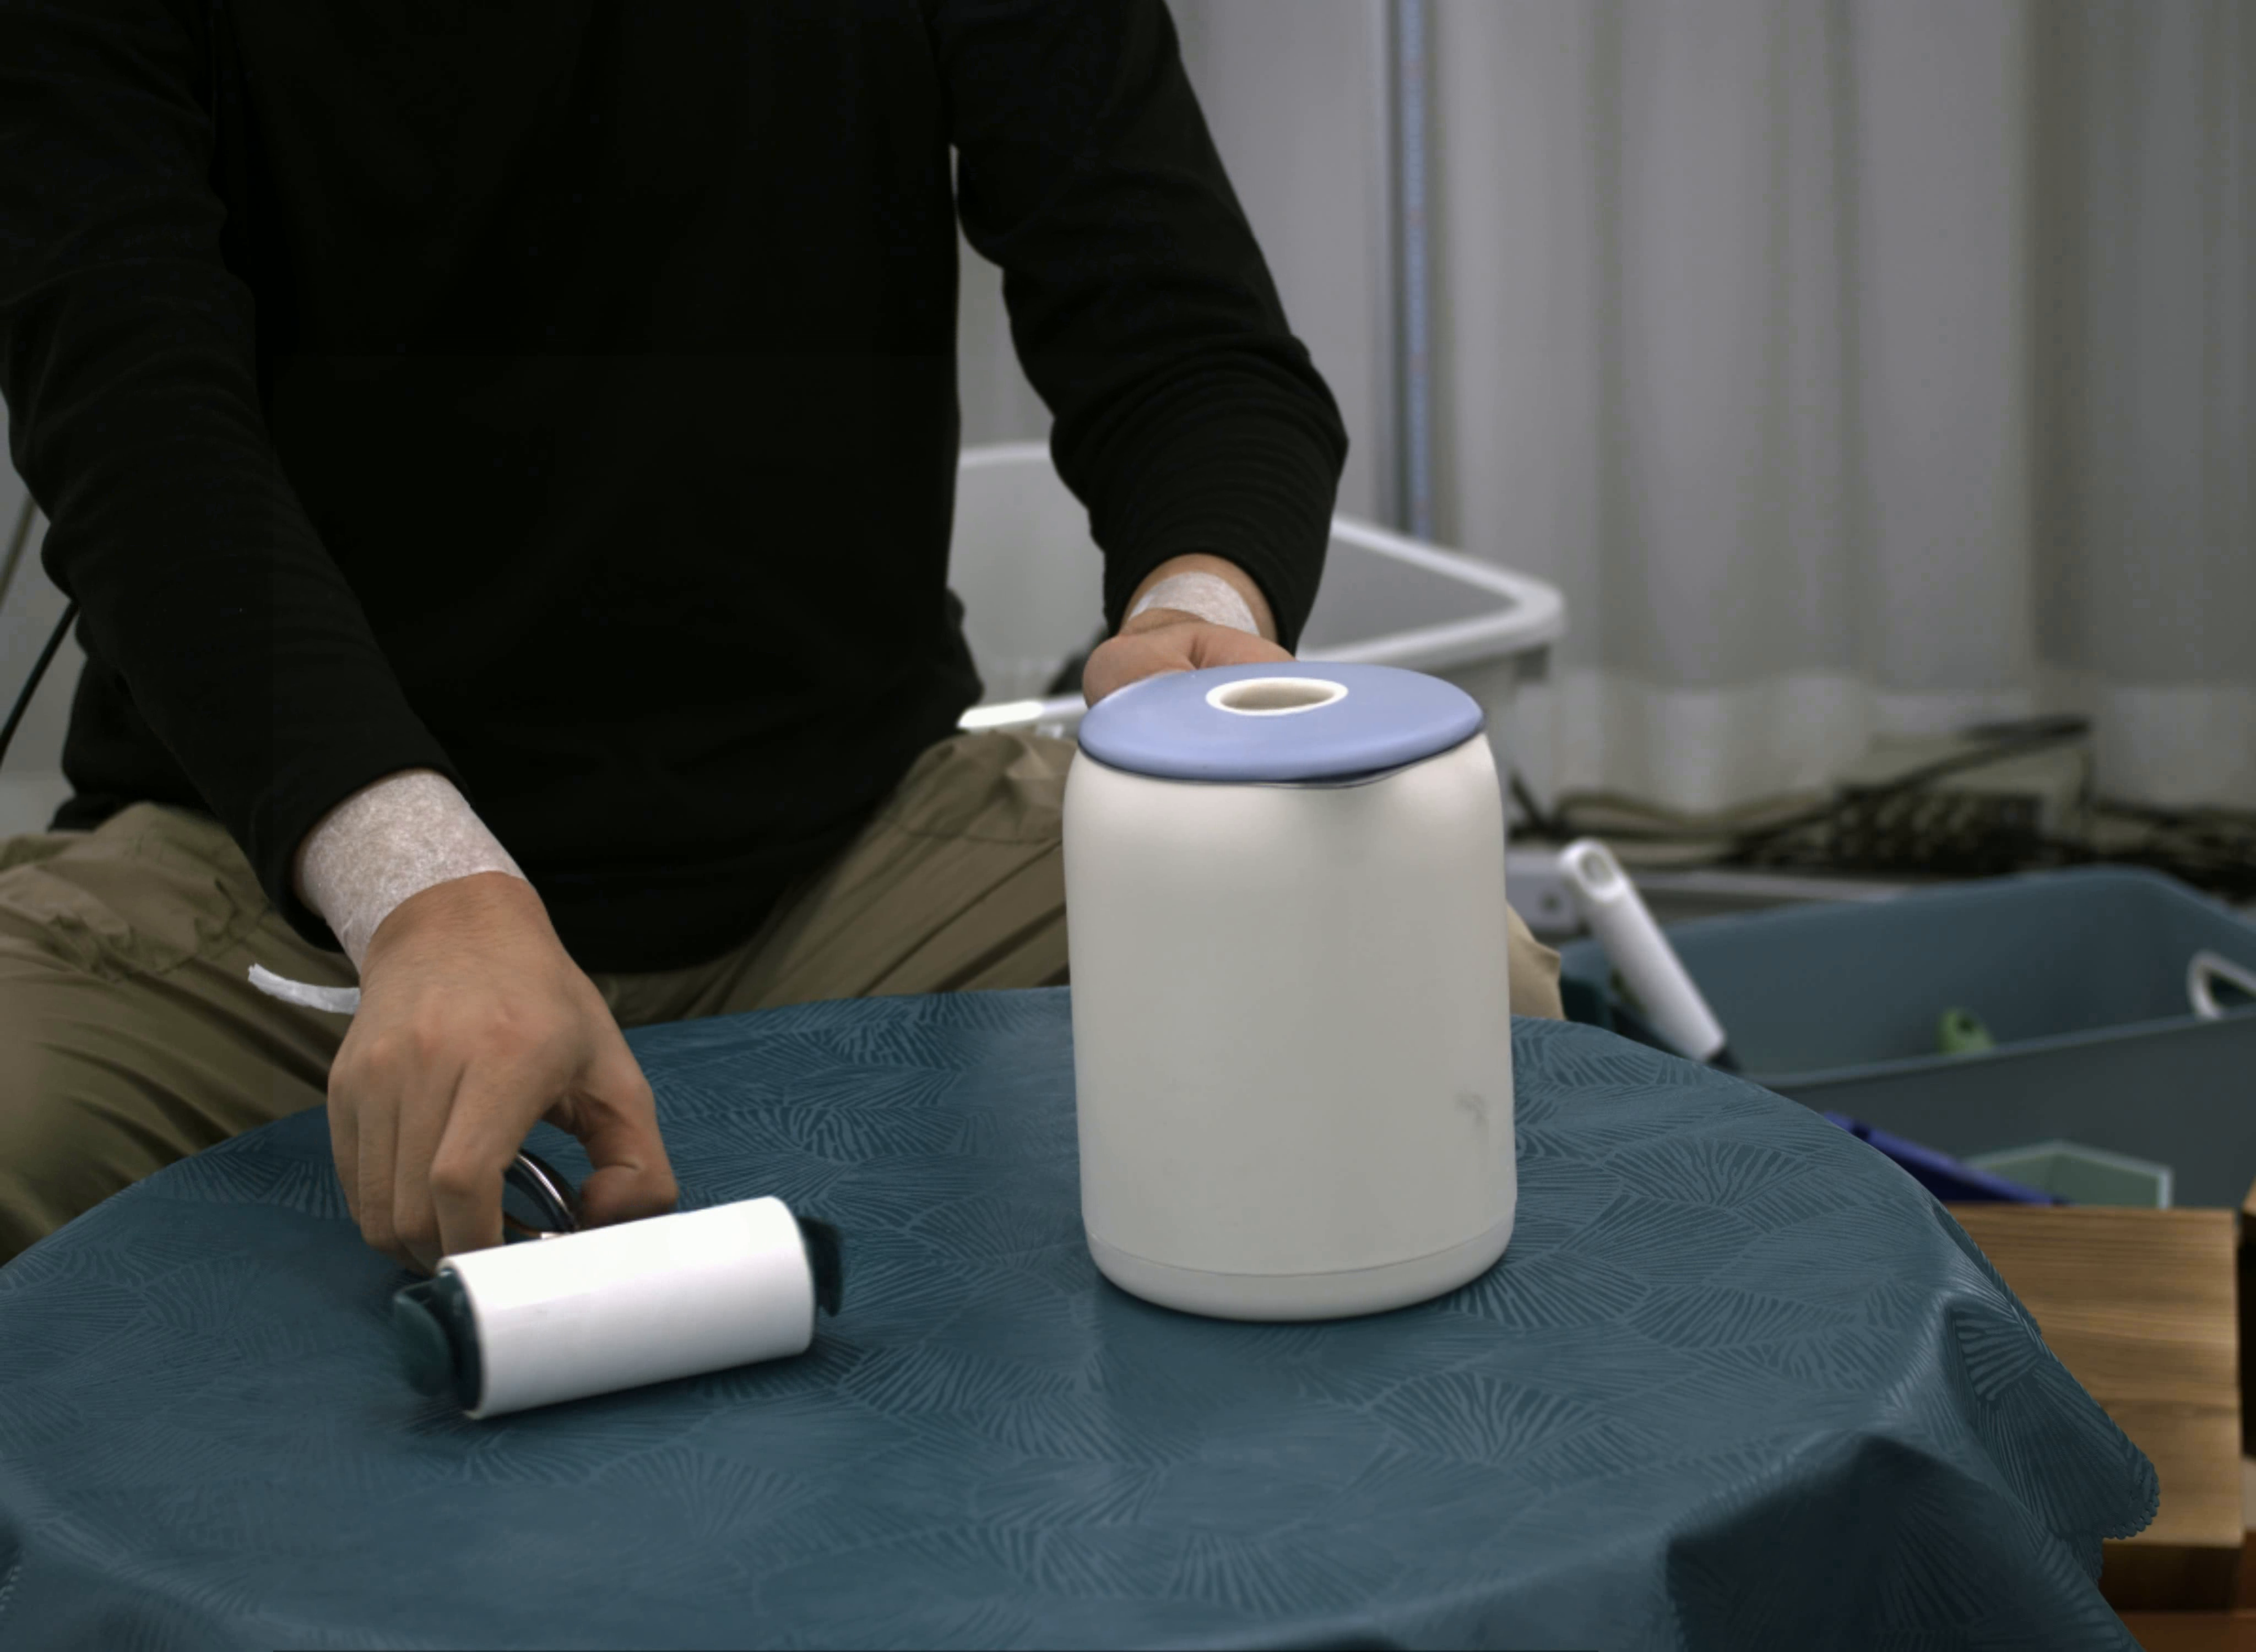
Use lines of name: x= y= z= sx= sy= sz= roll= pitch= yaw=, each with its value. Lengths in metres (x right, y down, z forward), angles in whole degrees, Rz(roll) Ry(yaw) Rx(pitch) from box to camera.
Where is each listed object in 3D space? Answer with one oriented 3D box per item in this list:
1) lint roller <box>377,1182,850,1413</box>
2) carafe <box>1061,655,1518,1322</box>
lint roller: x=-0.173 y=0.119 z=1.624 sx=0.134 sy=0.048 sz=0.182 roll=-9 pitch=19 yaw=-21
carafe: x=0.041 y=0.042 z=1.649 sx=0.131 sy=0.182 sz=0.192 roll=-6 pitch=12 yaw=-17
